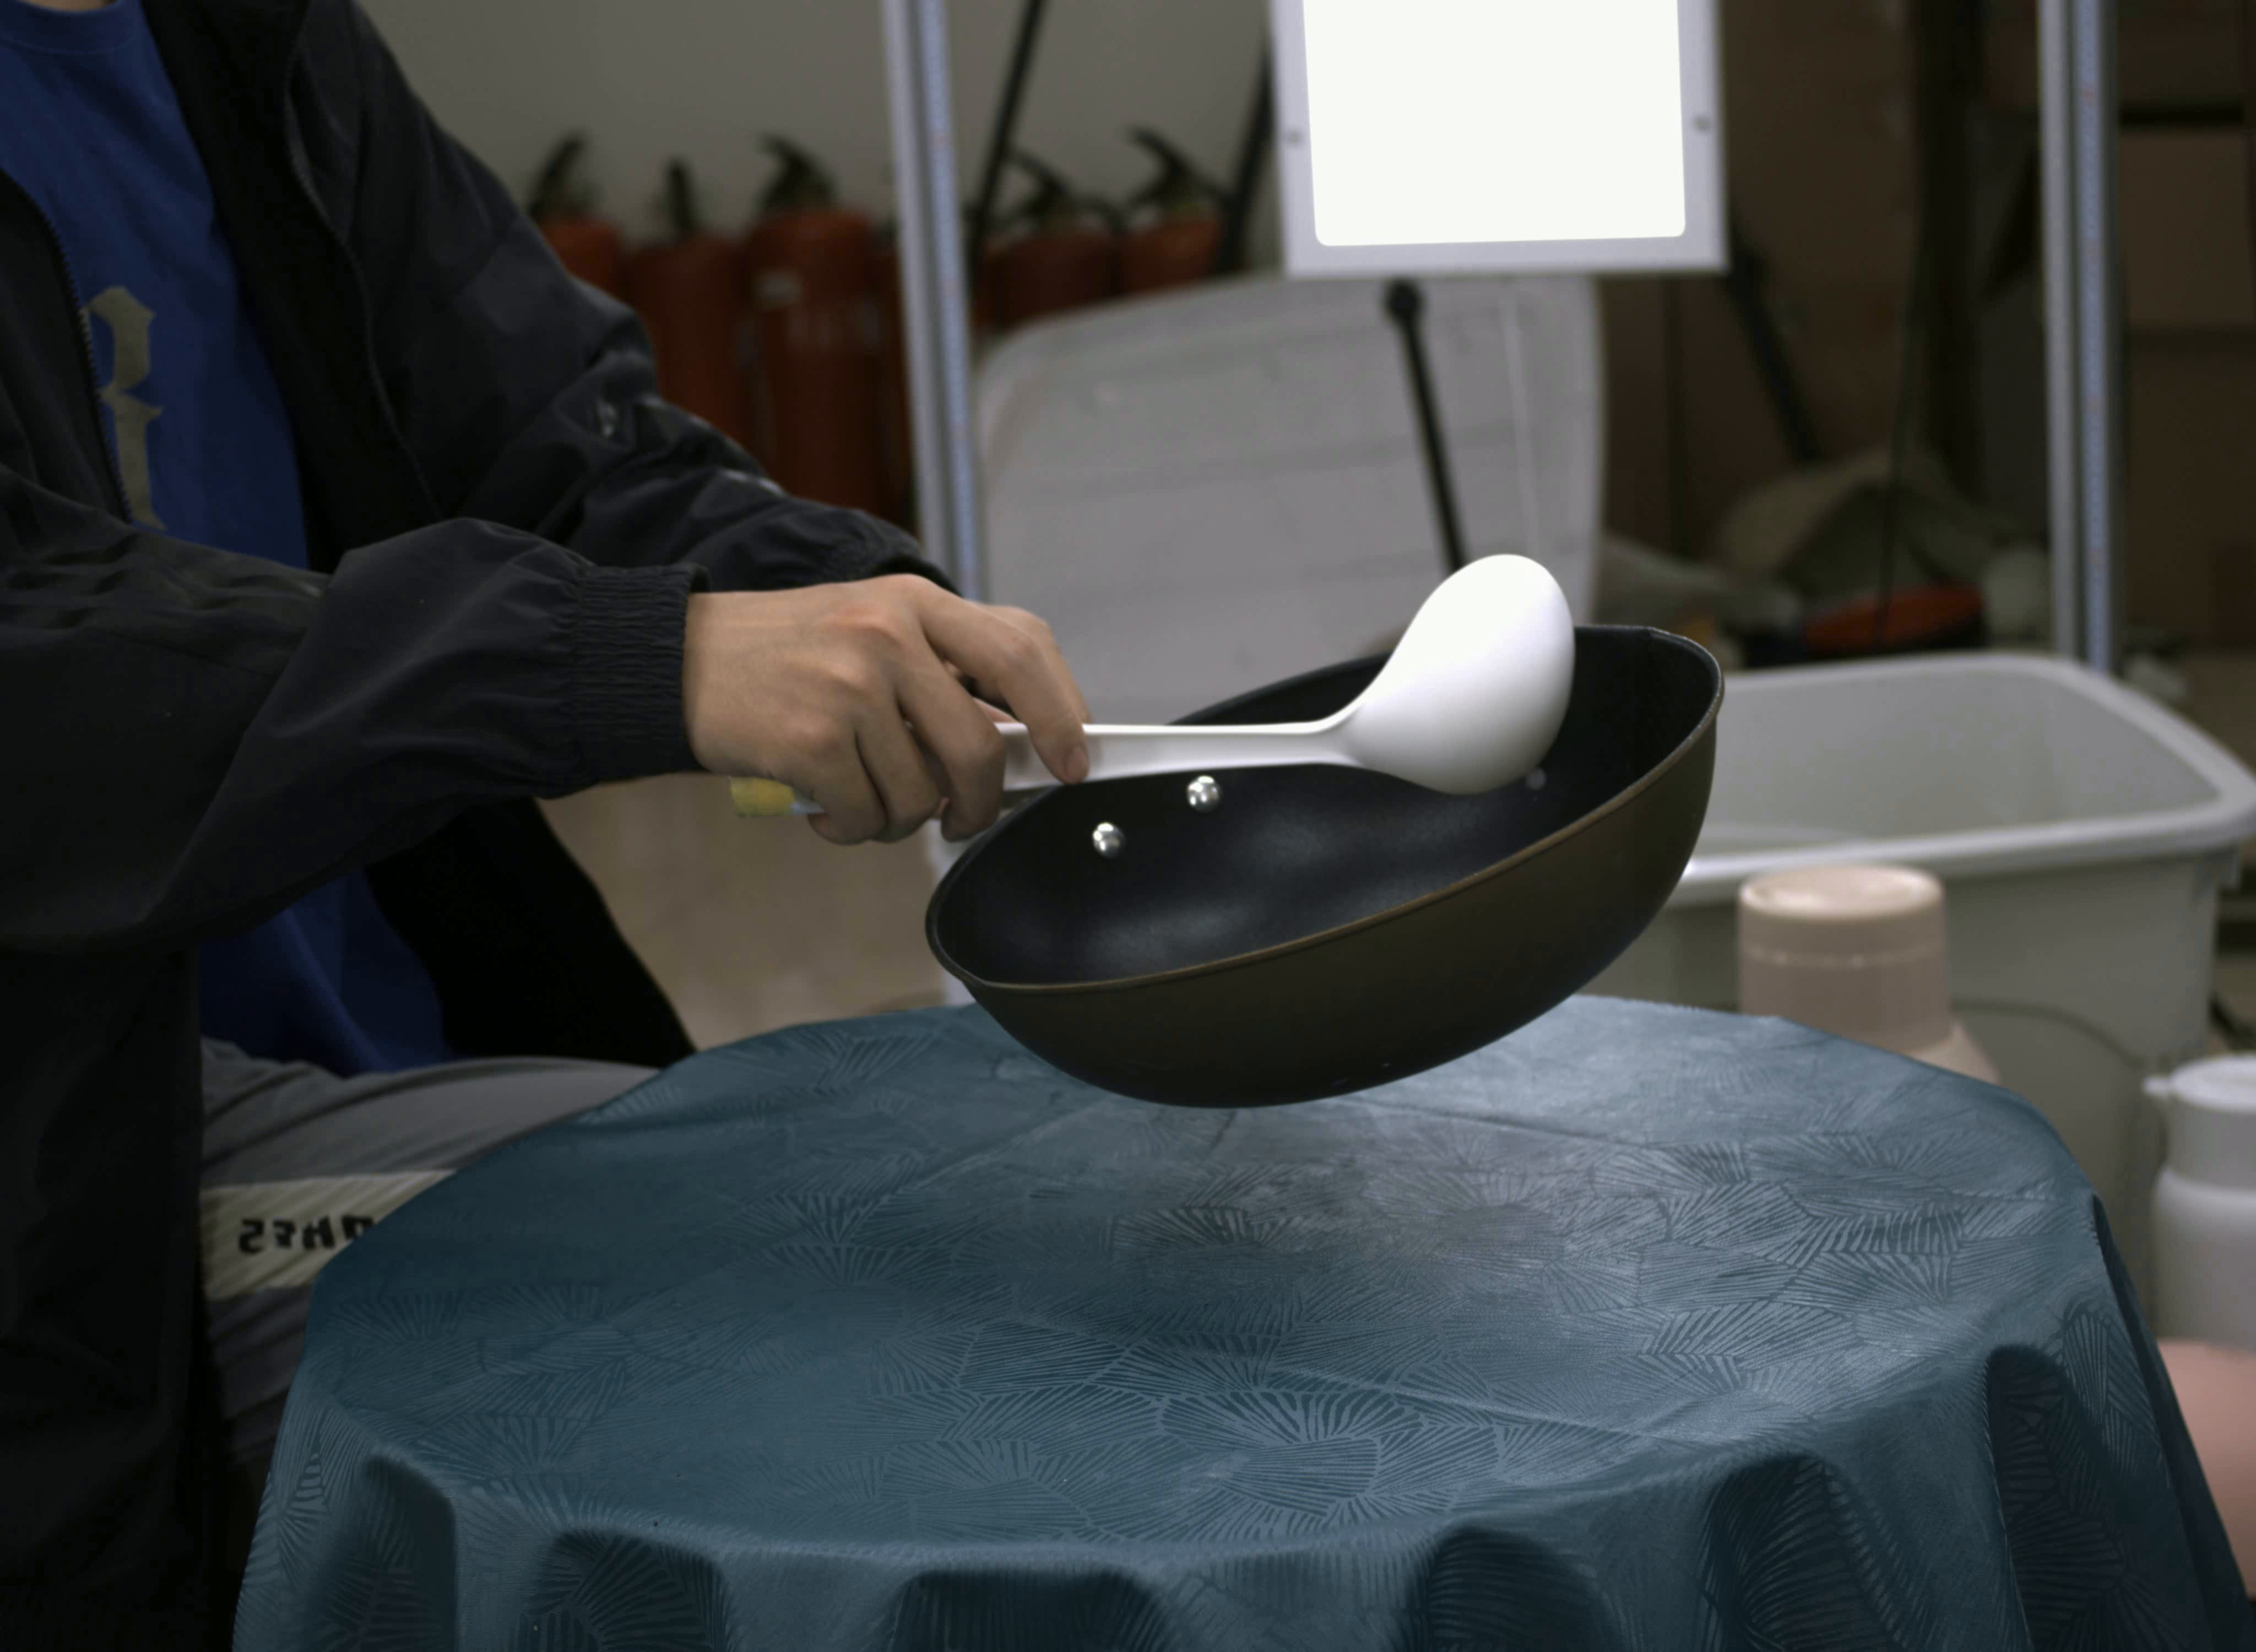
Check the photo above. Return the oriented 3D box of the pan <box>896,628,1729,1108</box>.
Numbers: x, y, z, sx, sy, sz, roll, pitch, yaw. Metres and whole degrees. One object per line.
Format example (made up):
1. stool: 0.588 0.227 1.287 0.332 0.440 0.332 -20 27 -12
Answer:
1. pan: 0.033 0.013 1.929 0.283 0.087 0.472 -27 18 -23

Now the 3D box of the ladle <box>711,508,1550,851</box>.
1. ladle: 0.001 -0.042 1.881 0.295 0.090 0.069 -10 39 12
